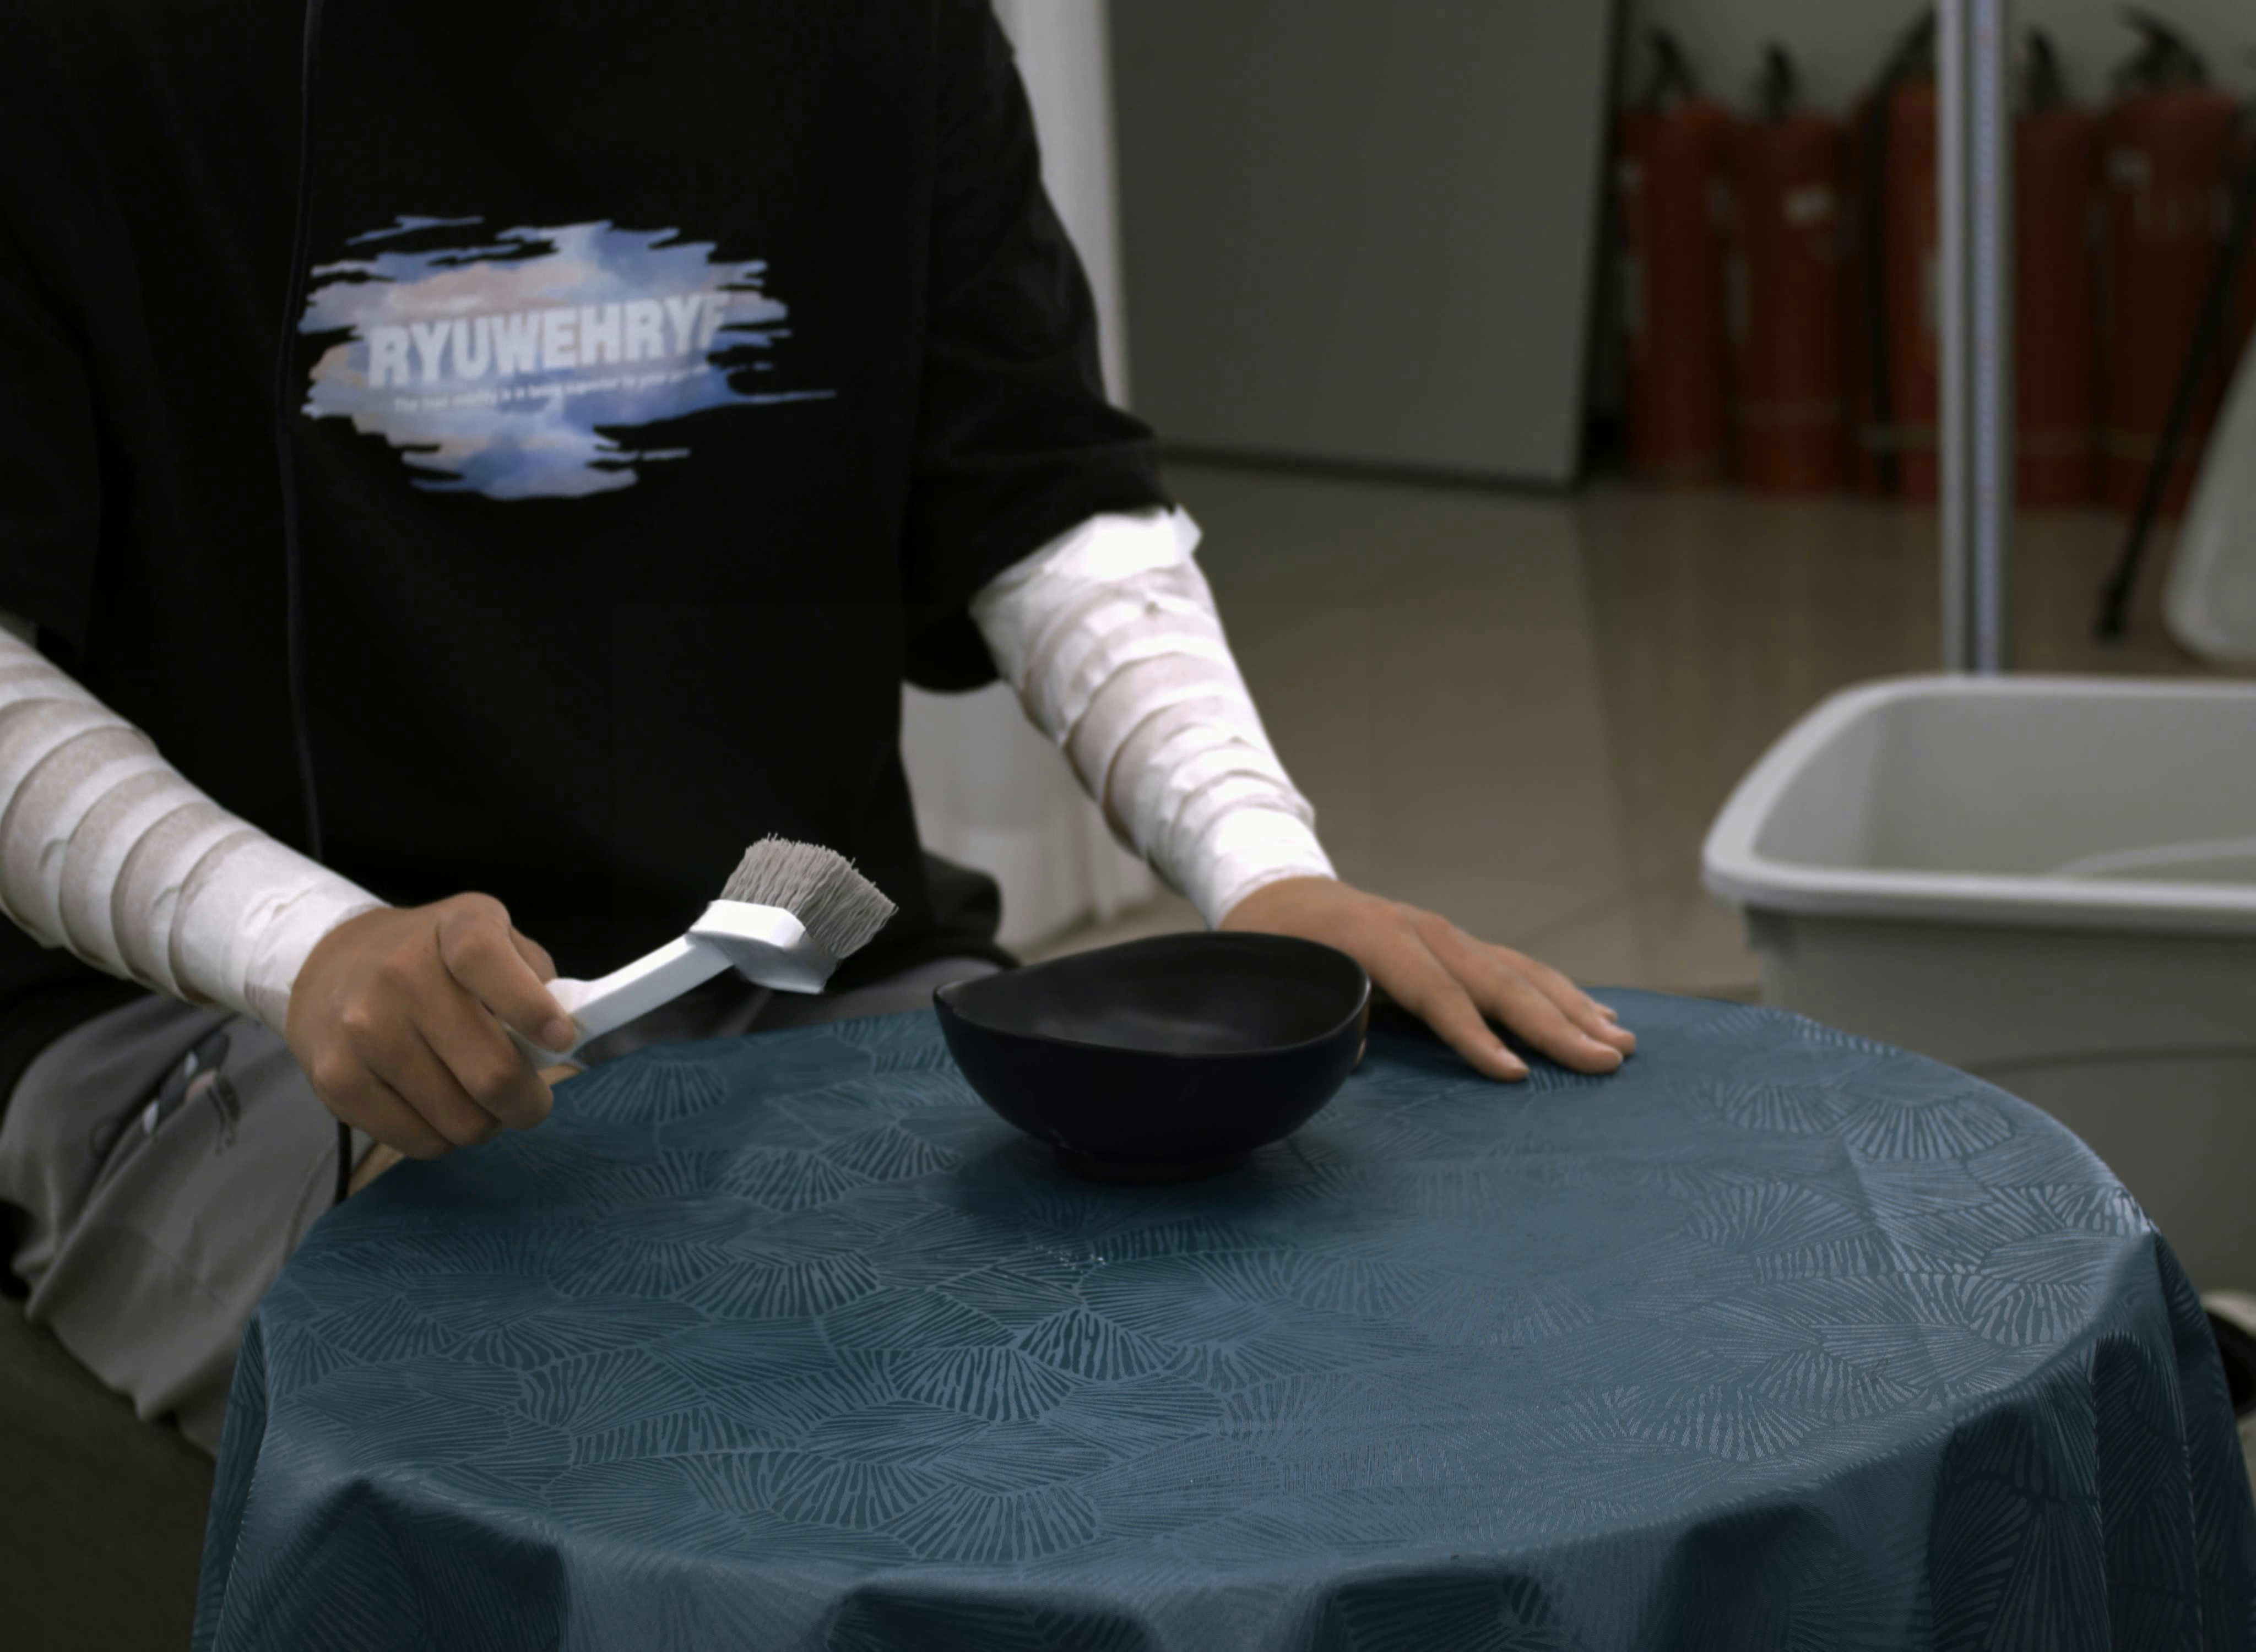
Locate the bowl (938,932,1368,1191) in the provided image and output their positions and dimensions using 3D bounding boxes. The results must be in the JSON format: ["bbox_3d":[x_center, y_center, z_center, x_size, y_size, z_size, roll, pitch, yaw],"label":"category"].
[{"bbox_3d":[0.008,0.082,1.798,0.134,0.067,0.172,-13,14,-32],"label":"bowl"}]

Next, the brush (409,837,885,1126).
[{"bbox_3d":[-0.158,0.049,1.741,0.246,0.034,0.050,-23,36,51],"label":"brush"}]
